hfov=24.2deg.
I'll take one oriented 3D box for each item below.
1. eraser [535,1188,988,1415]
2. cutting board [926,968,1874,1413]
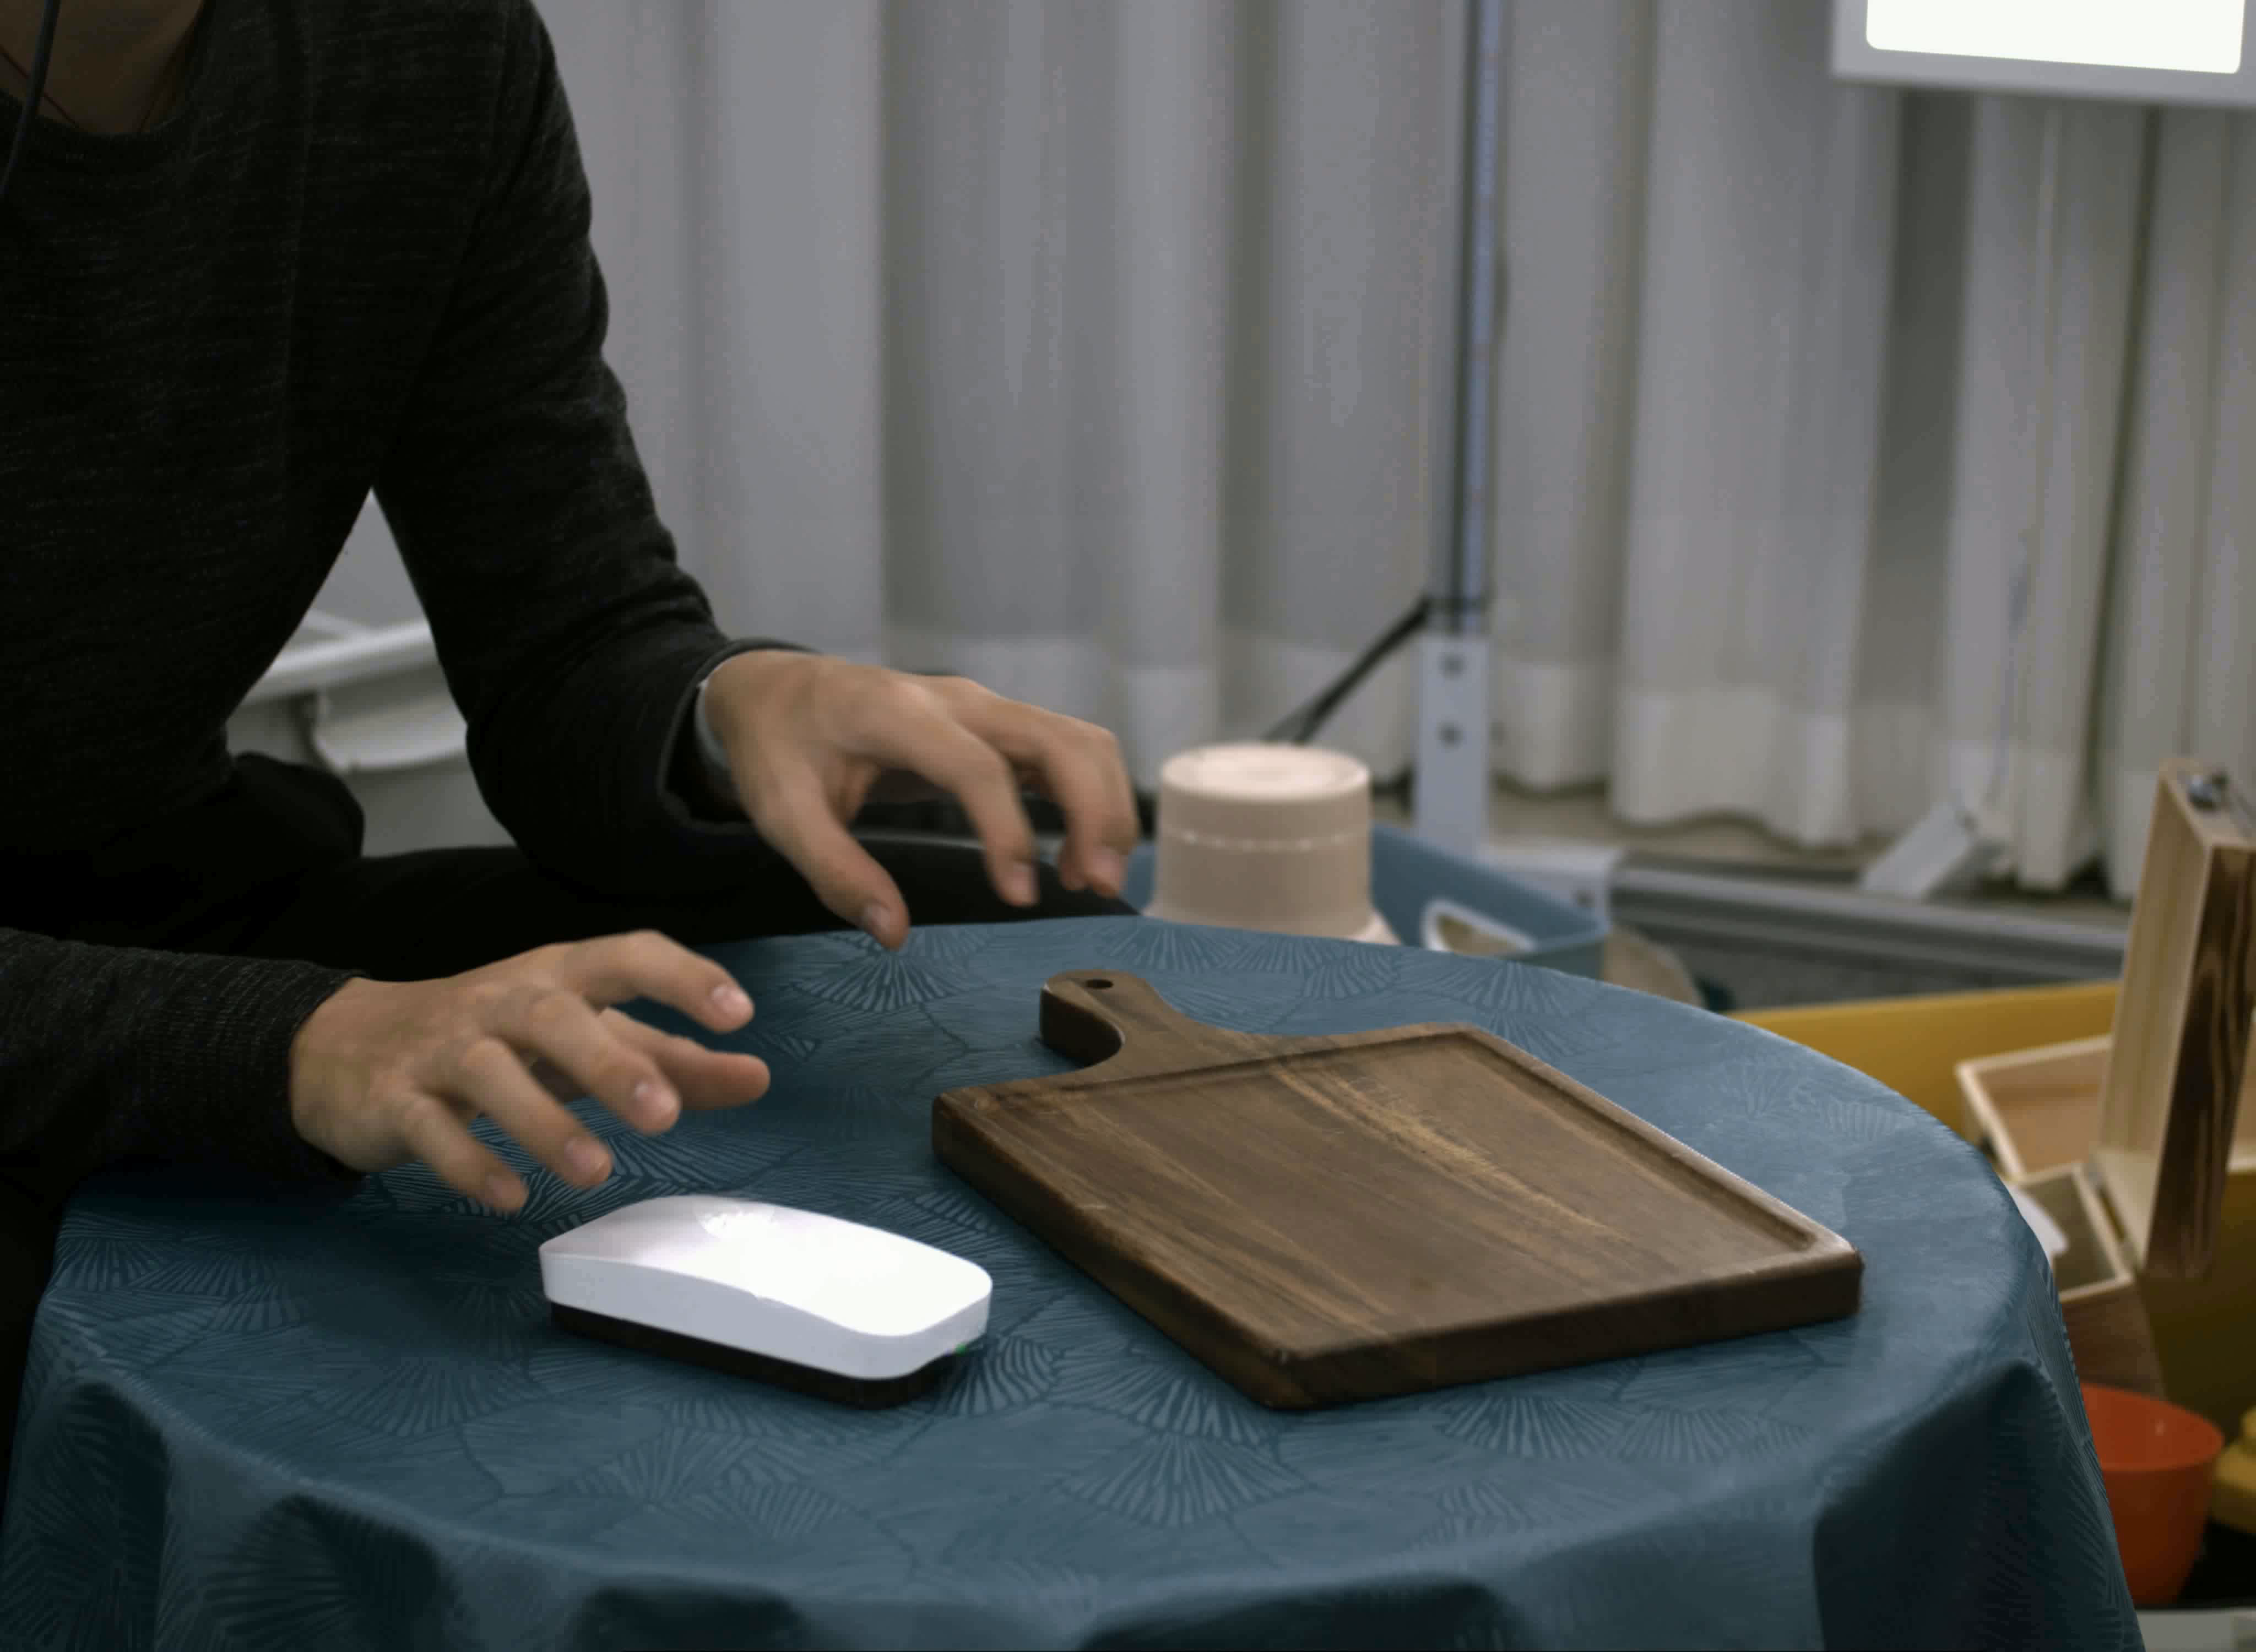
[{"bbox_3d":[-0.104,0.132,1.491,0.129,0.035,0.063,12,20,32],"label":"eraser"},{"bbox_3d":[0.056,0.100,1.628,0.202,0.023,0.348,-7,17,-25],"label":"cutting board"}]
